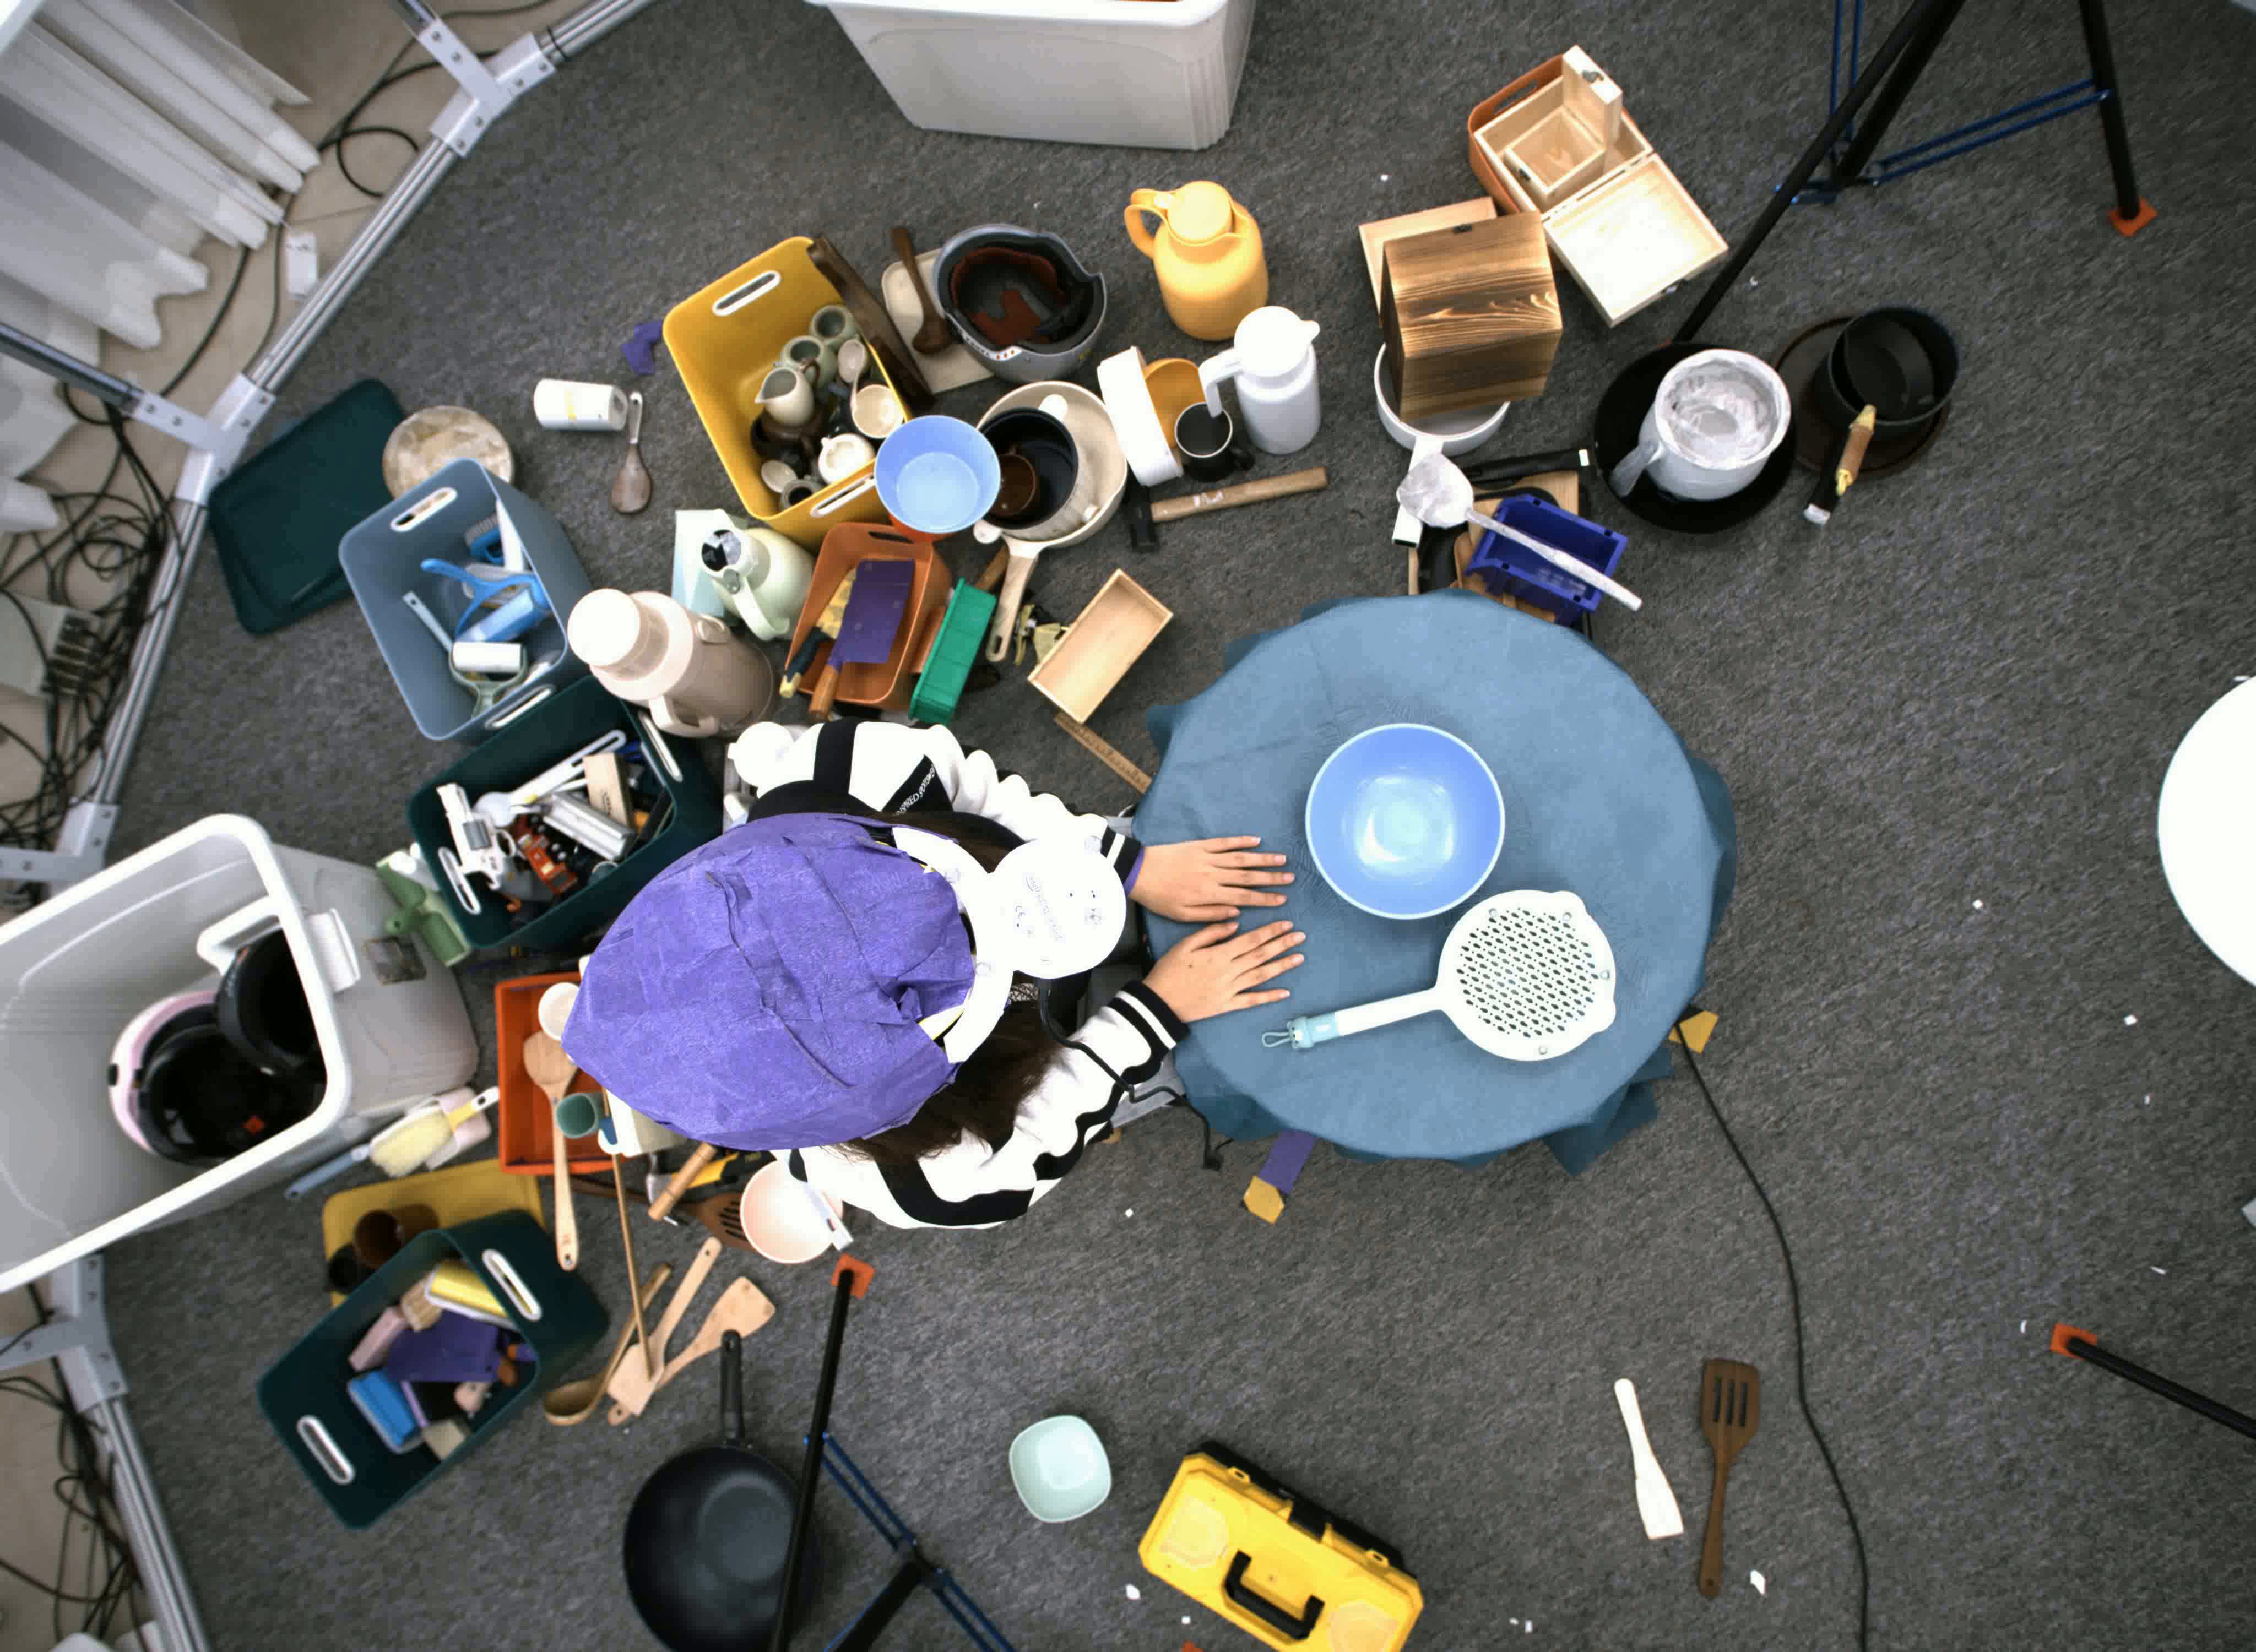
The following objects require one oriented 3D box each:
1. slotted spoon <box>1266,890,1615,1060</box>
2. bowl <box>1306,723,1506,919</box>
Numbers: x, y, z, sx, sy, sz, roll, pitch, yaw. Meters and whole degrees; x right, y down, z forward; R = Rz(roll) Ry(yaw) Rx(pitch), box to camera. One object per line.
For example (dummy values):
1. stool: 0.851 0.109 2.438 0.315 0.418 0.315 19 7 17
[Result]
1. slotted spoon: 0.312 0.175 1.418 0.361 0.075 0.168 -16 83 11
2. bowl: 0.283 -0.002 1.414 0.197 0.095 0.195 -1 87 10
